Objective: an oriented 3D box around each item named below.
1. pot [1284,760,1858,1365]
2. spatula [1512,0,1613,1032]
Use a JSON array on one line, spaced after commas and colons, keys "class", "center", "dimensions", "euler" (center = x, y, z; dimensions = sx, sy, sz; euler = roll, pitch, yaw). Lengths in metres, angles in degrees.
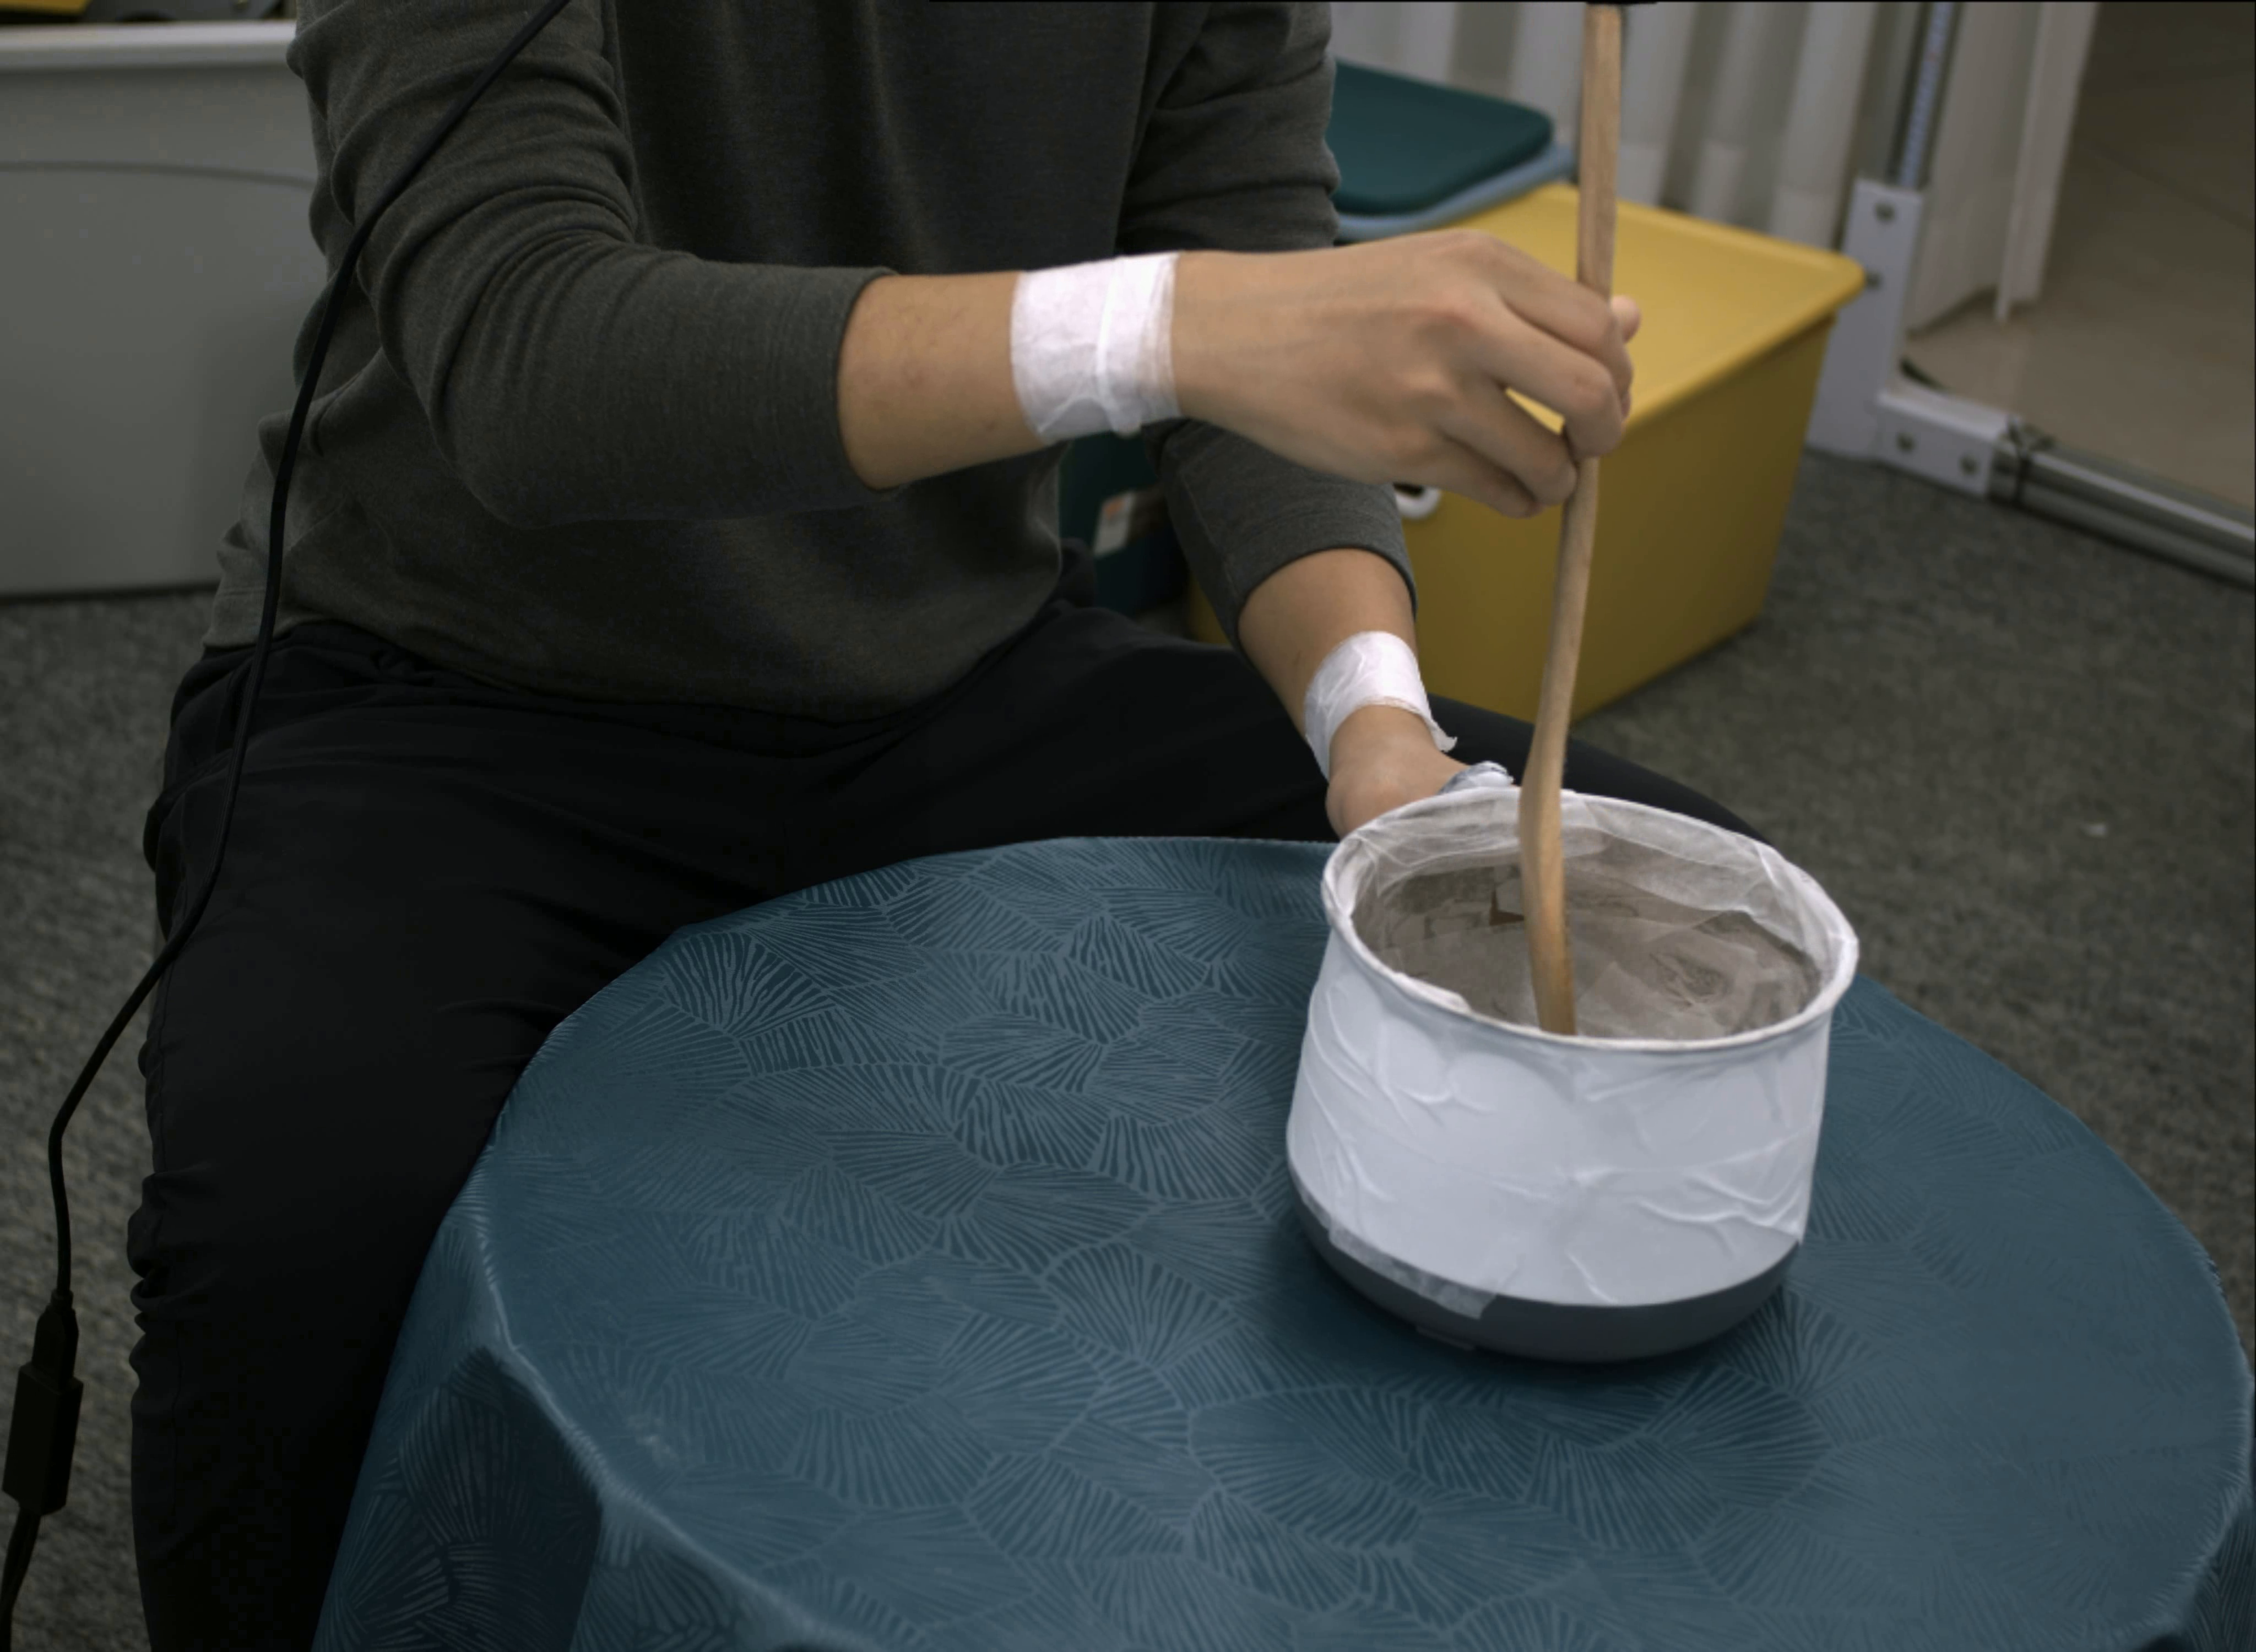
[{"class": "pot", "center": [0.135, 0.072, 1.788], "dimensions": [0.177, 0.136, 0.236], "euler": [-2, 28, -18]}, {"class": "spatula", "center": [0.141, -0.091, 1.692], "dimensions": [0.018, 0.389, 0.096], "euler": [-2, 31, -6]}]
